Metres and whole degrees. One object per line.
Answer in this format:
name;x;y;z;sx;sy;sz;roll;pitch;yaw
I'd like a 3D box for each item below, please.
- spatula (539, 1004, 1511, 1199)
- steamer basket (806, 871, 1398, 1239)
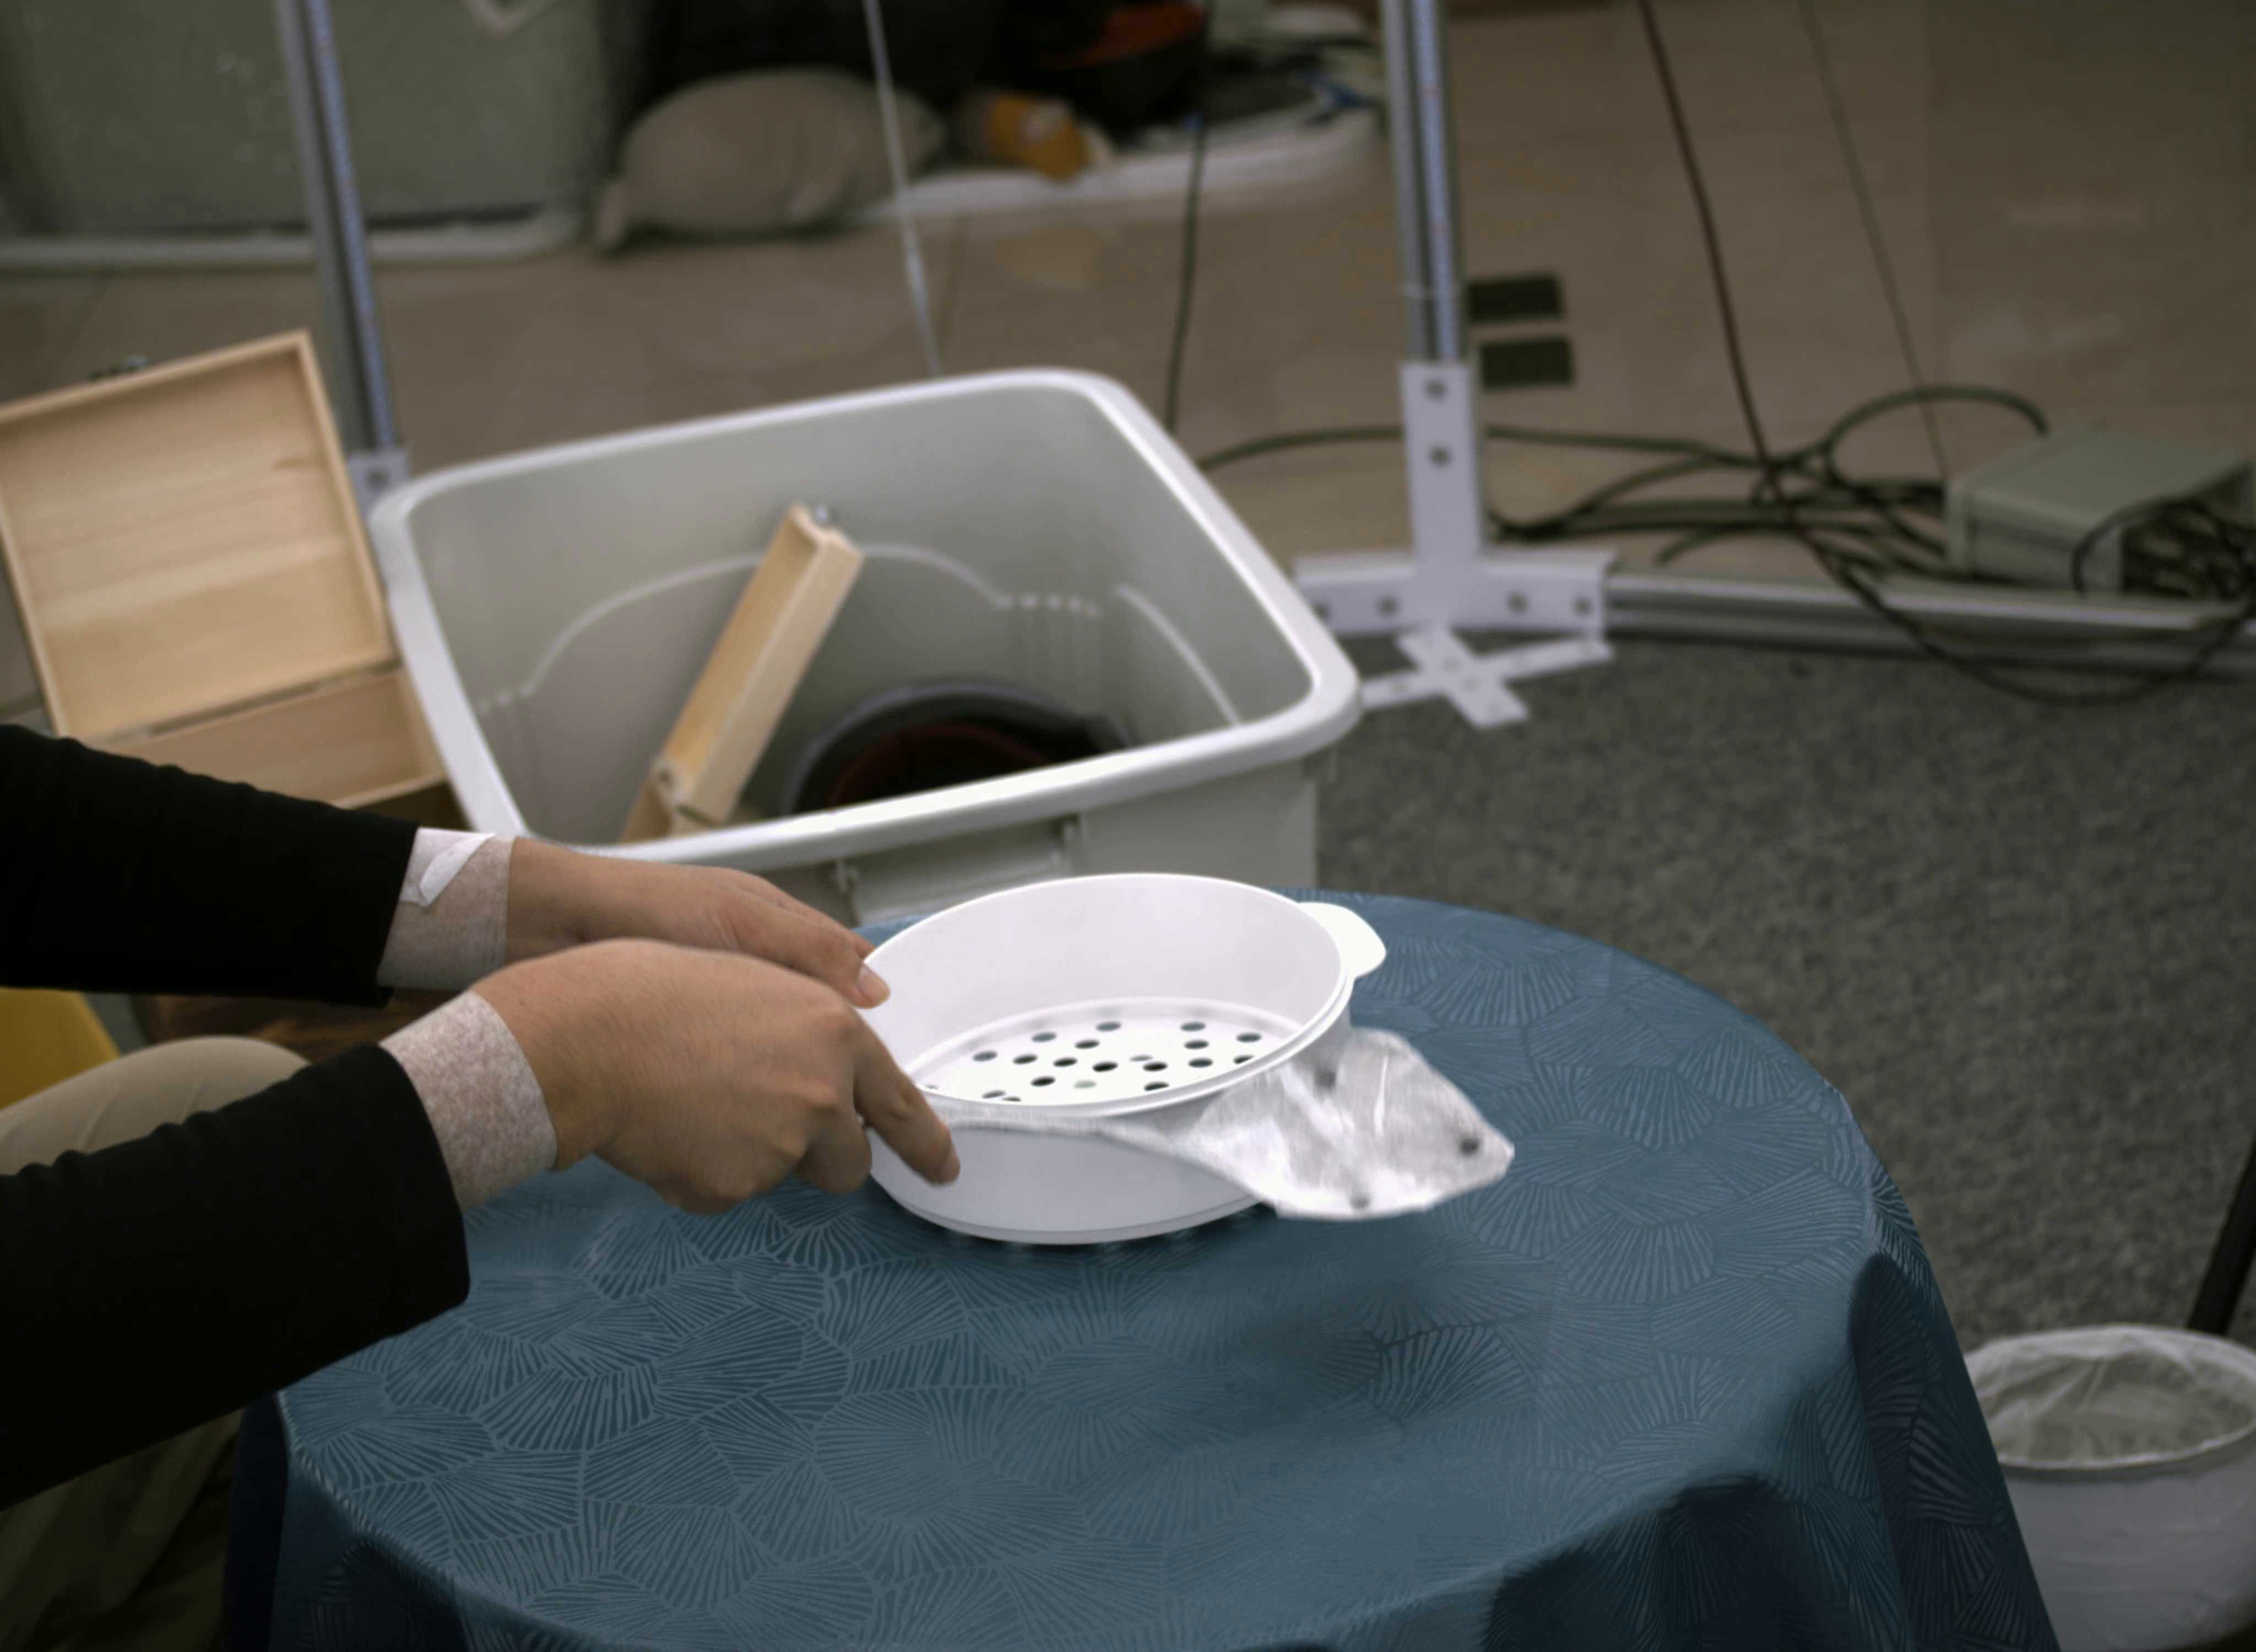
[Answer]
spatula;-0.031;0.091;1.923;0.365;0.045;0.097;6;29;-36
steamer basket;-0.006;0.088;2.174;0.230;0.070;0.199;-14;25;-13
